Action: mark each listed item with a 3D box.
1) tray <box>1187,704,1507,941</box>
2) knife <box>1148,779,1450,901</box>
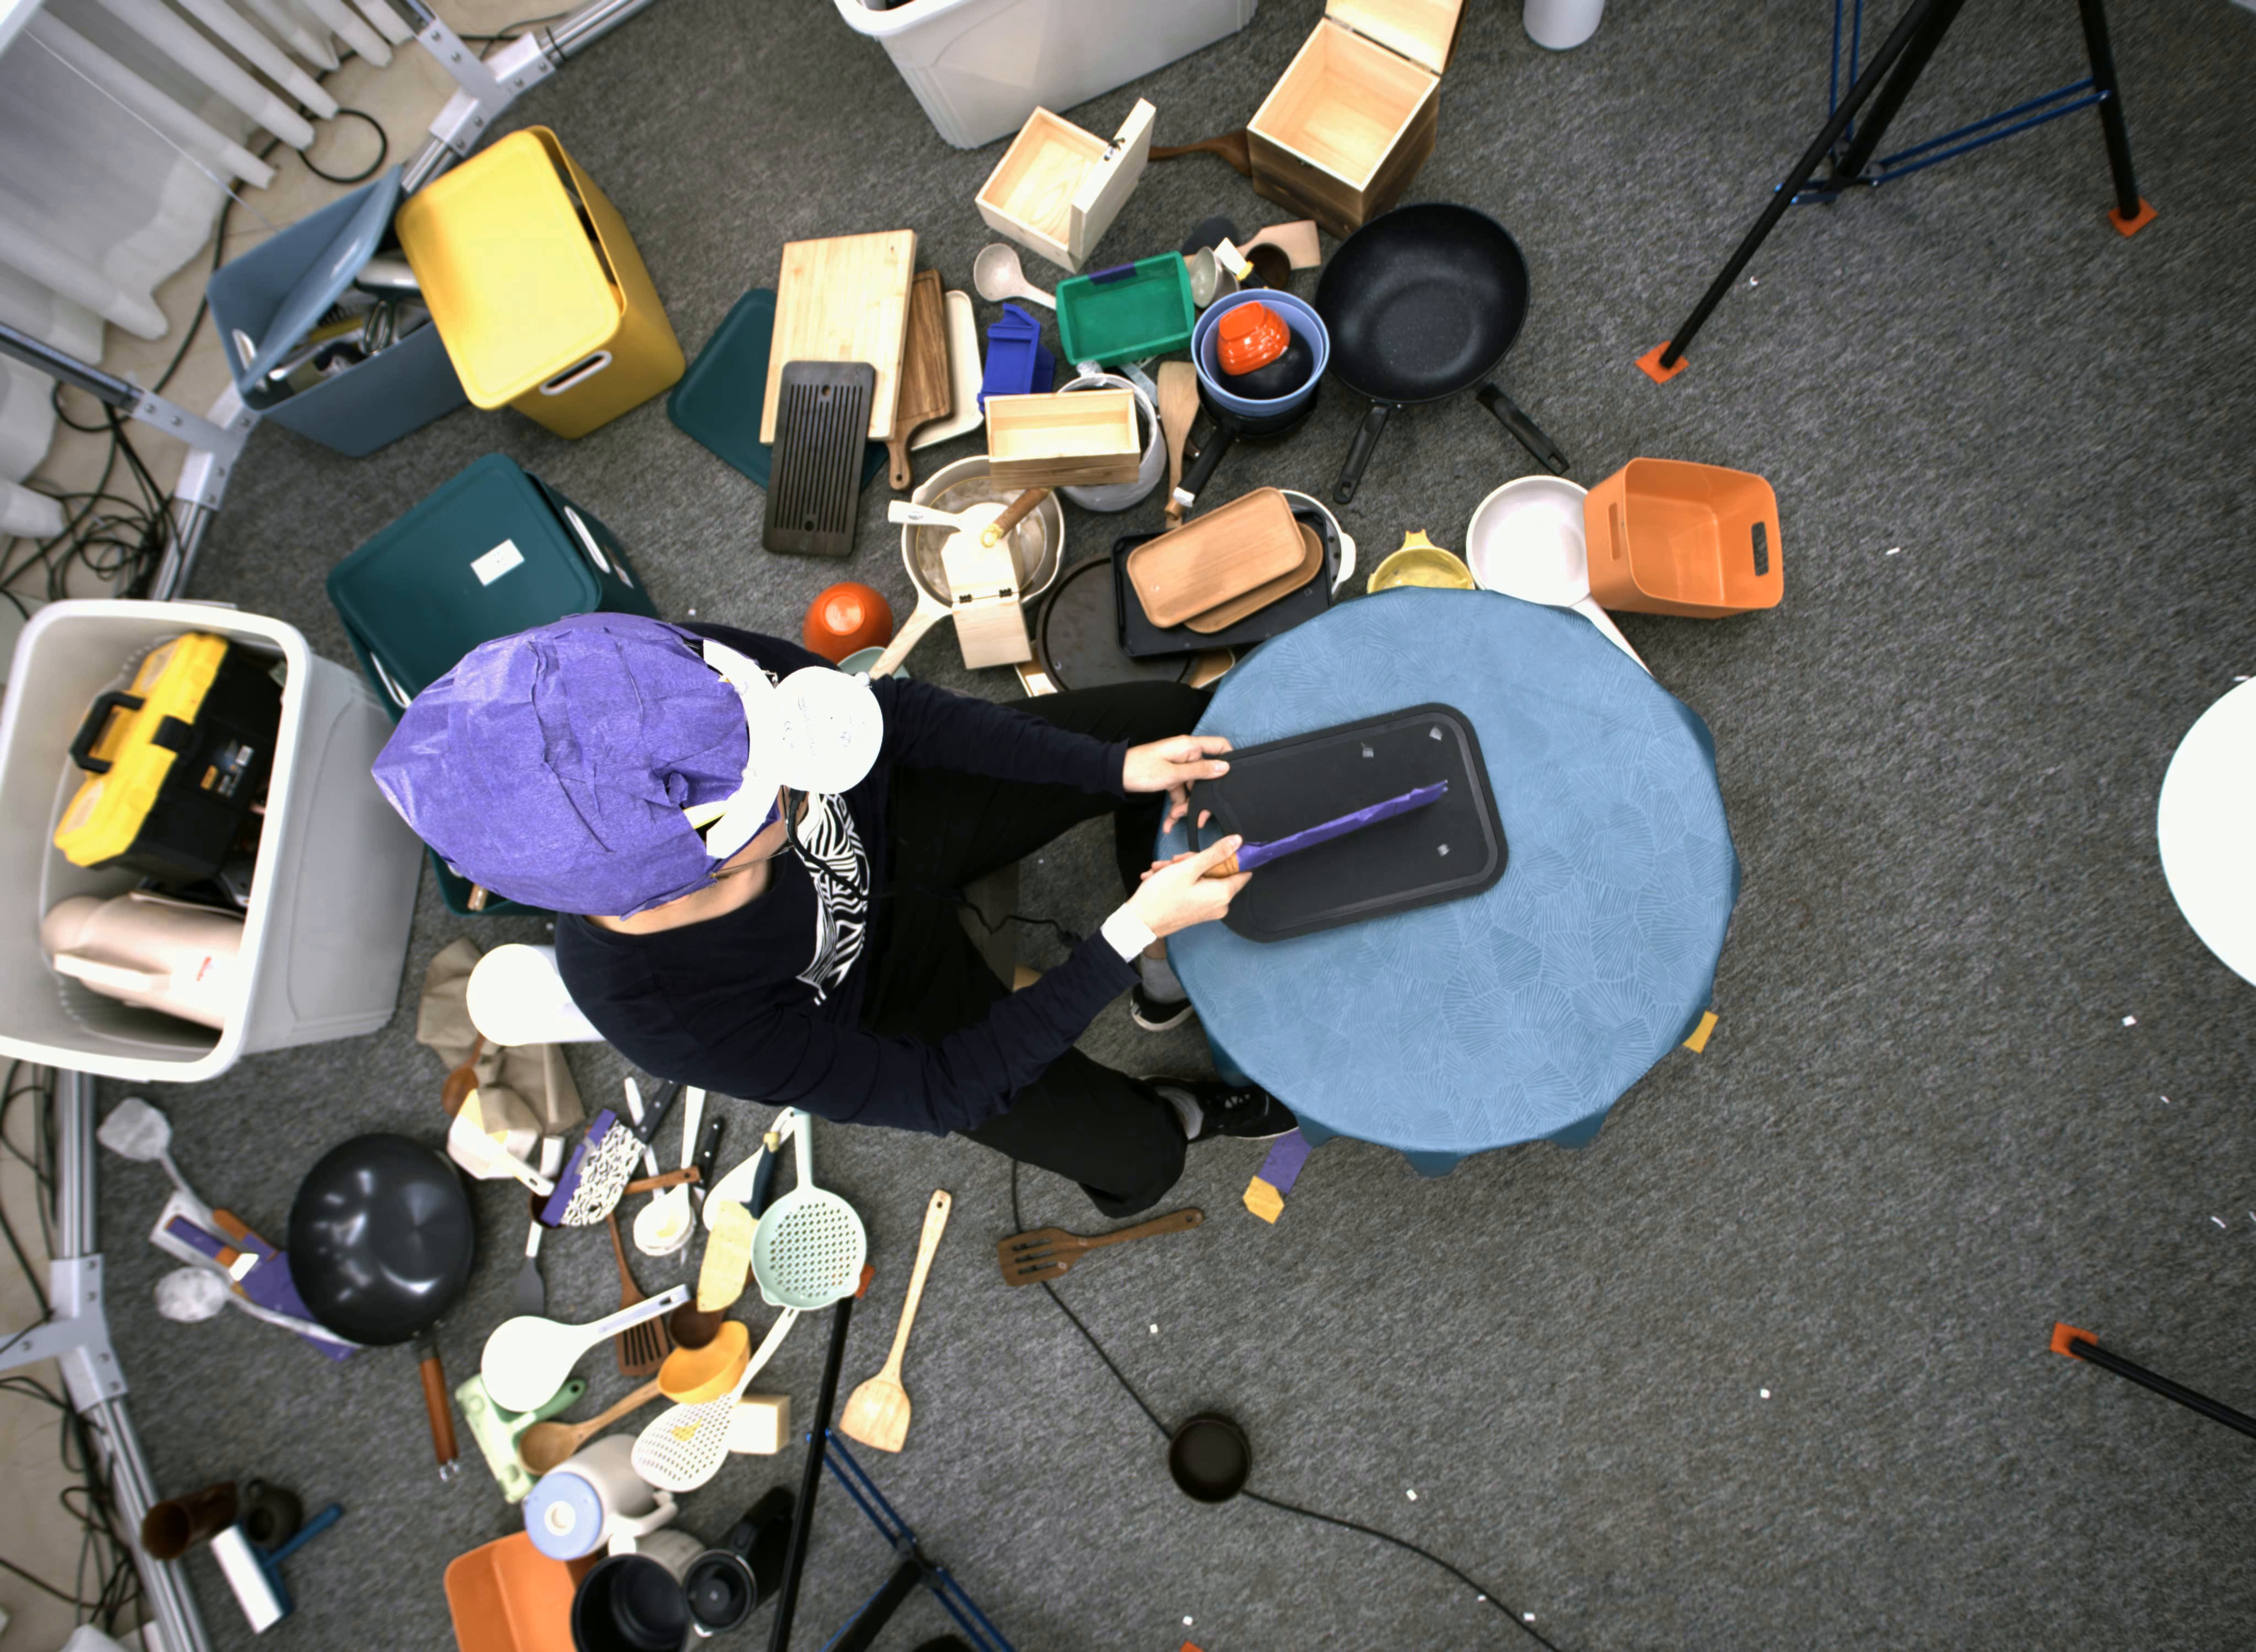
[{"bbox_3d":[0.225,-0.003,1.453,0.326,0.010,0.209,-13,82,5],"label":"tray"},{"bbox_3d":[0.176,0.017,1.406,0.316,0.104,0.032,-19,77,5],"label":"knife"}]
